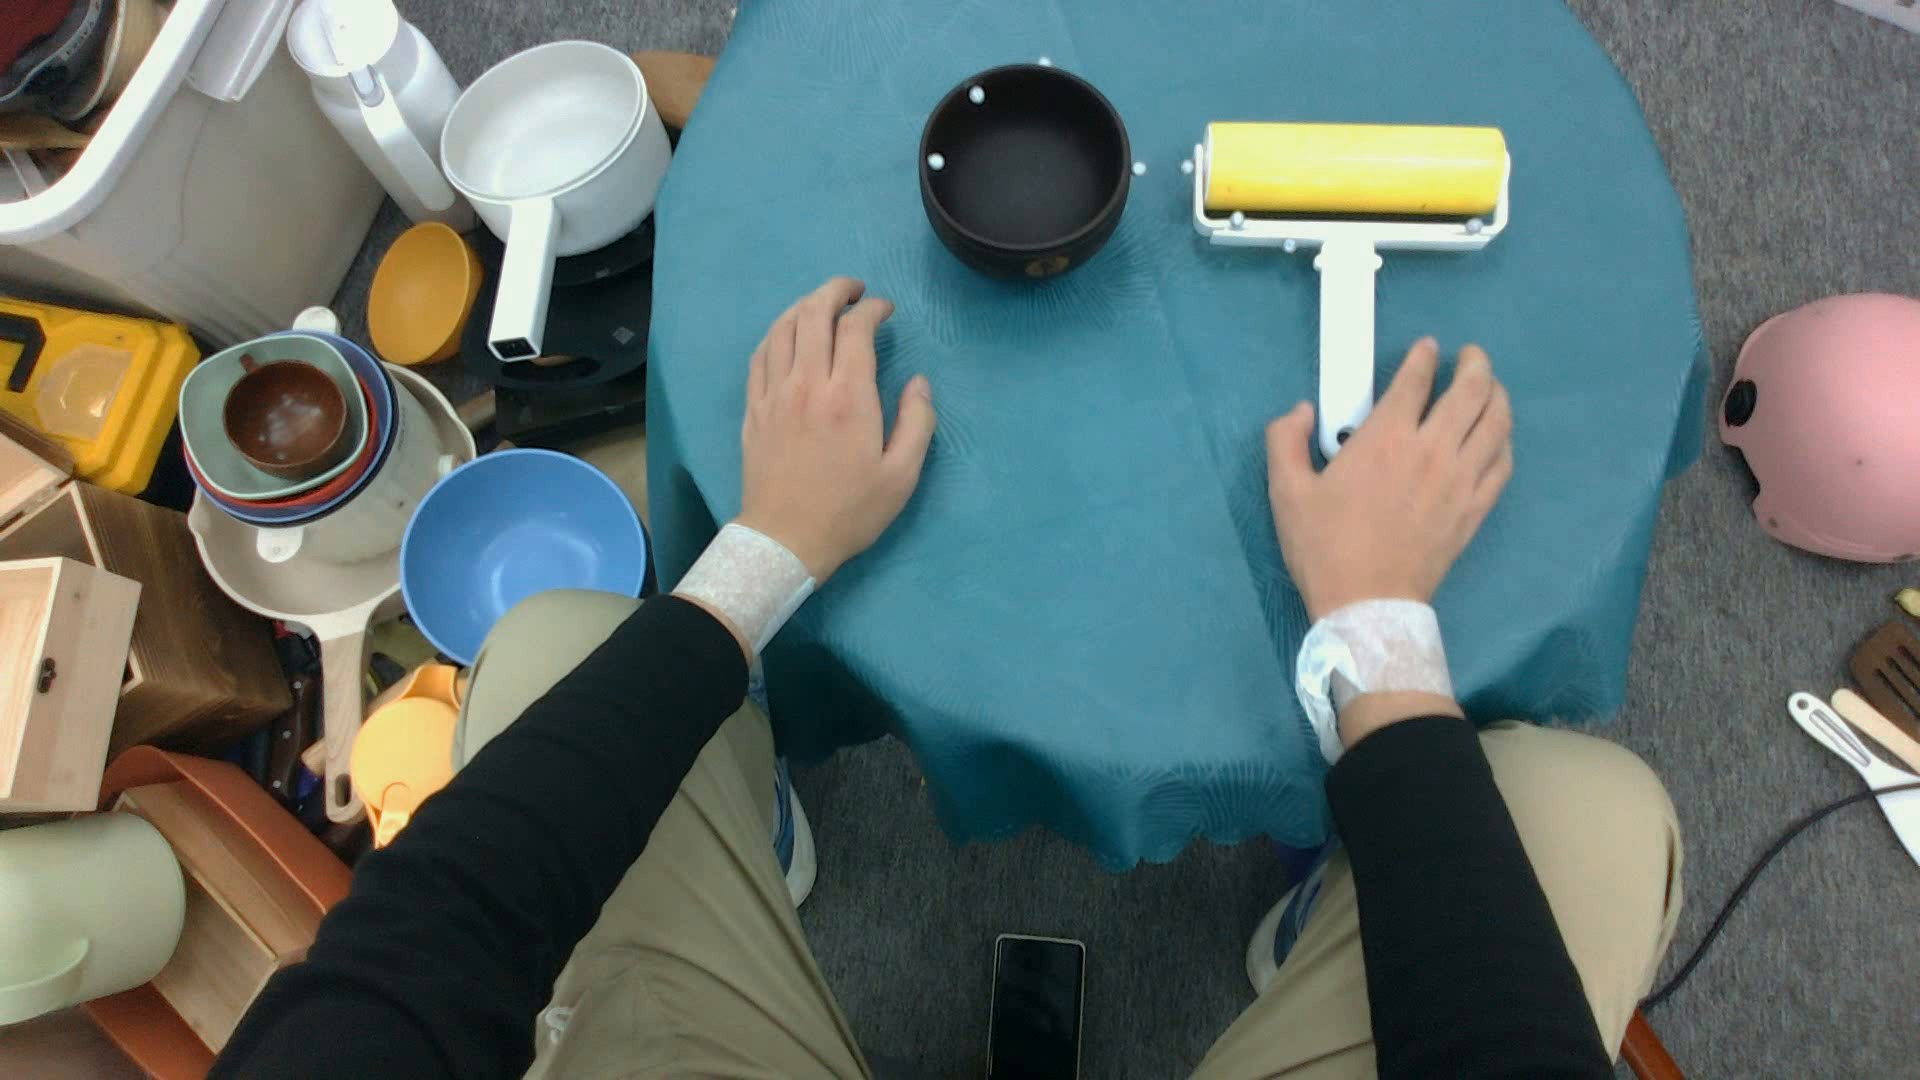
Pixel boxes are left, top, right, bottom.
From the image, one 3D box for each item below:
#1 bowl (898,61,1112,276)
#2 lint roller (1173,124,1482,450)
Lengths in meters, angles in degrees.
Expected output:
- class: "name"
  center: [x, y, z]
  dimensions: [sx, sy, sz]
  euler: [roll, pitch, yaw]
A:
- class: "bowl"
  center: [0.025, -0.202, 0.777]
  dimensions: [0.118, 0.069, 0.118]
  euler: [0, 72, 1]
- class: "lint roller"
  center: [0.209, -0.147, 0.769]
  dimensions: [0.174, 0.051, 0.192]
  euler: [0, 68, 1]
